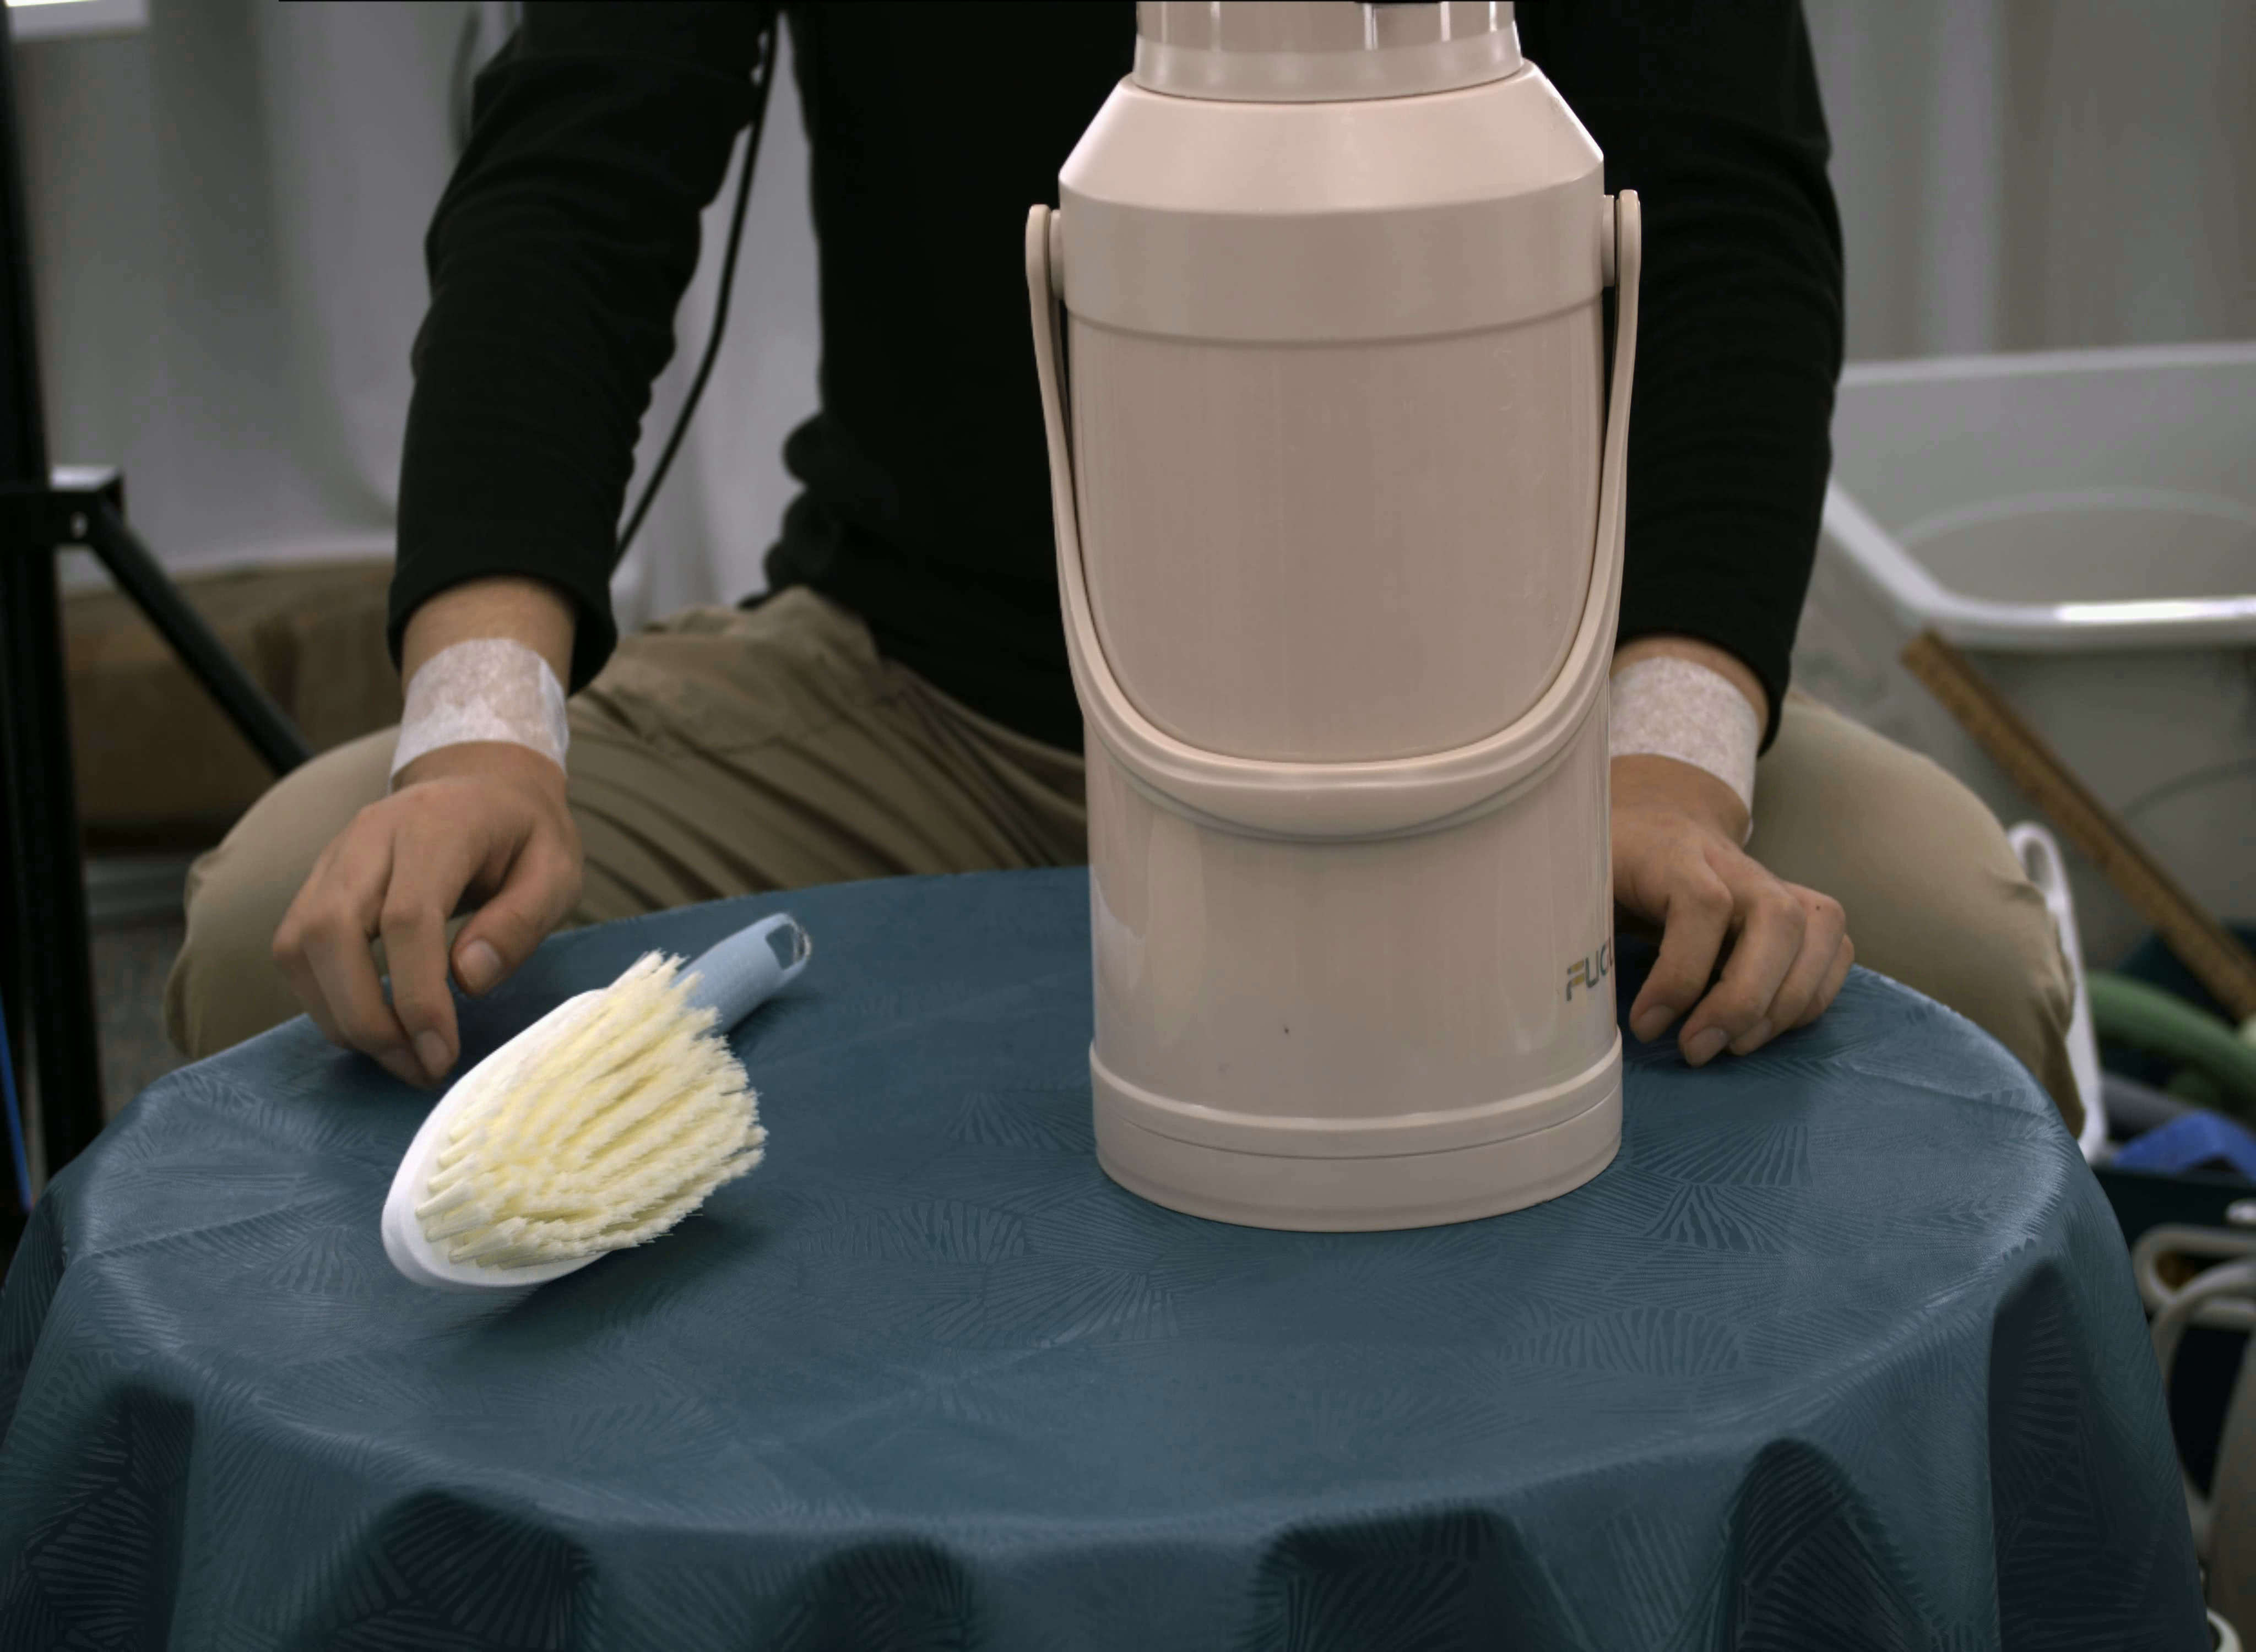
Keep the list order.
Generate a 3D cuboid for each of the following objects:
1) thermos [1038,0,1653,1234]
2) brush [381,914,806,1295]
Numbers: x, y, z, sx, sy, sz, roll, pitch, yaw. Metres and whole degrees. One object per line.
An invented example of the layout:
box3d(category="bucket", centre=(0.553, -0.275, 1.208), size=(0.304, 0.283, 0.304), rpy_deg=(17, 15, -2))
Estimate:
box3d(category="thermos", centre=(0.067, -0.100, 1.553), size=(0.175, 0.406, 0.207), rpy_deg=(-2, 15, 6))
box3d(category="brush", centre=(-0.132, 0.063, 1.609), size=(0.085, 0.083, 0.322), rpy_deg=(14, 18, 12))
